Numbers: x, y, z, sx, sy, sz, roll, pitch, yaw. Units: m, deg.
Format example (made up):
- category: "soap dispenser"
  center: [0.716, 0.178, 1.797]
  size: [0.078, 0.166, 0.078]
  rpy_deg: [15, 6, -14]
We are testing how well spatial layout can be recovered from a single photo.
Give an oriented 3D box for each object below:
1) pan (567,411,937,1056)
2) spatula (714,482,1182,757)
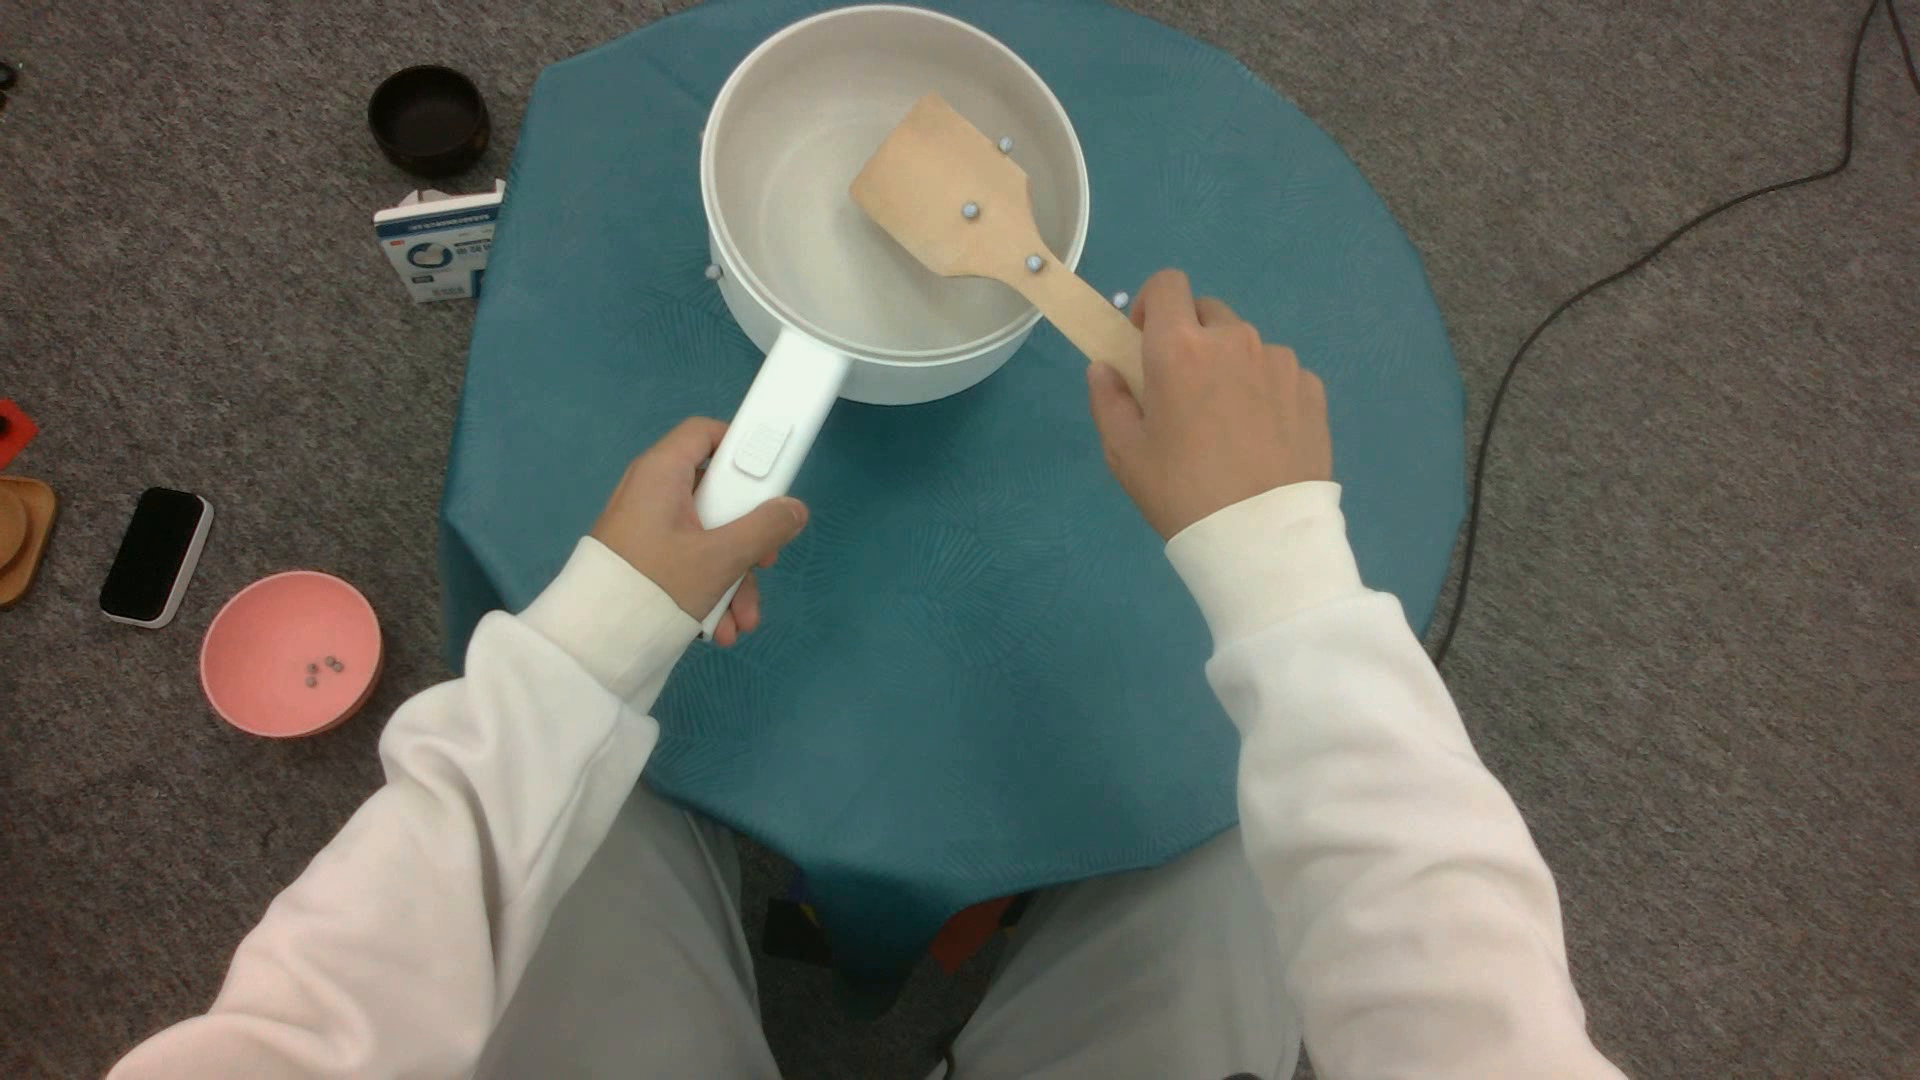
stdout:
- category: "pan"
  center: [-0.128, 0.099, 0.755]
  size: [0.201, 0.101, 0.356]
  rpy_deg: [10, 60, -2]
- category: "spatula"
  center: [-0.013, 0.042, 0.708]
  size: [0.293, 0.010, 0.072]
  rpy_deg: [22, 84, 34]
